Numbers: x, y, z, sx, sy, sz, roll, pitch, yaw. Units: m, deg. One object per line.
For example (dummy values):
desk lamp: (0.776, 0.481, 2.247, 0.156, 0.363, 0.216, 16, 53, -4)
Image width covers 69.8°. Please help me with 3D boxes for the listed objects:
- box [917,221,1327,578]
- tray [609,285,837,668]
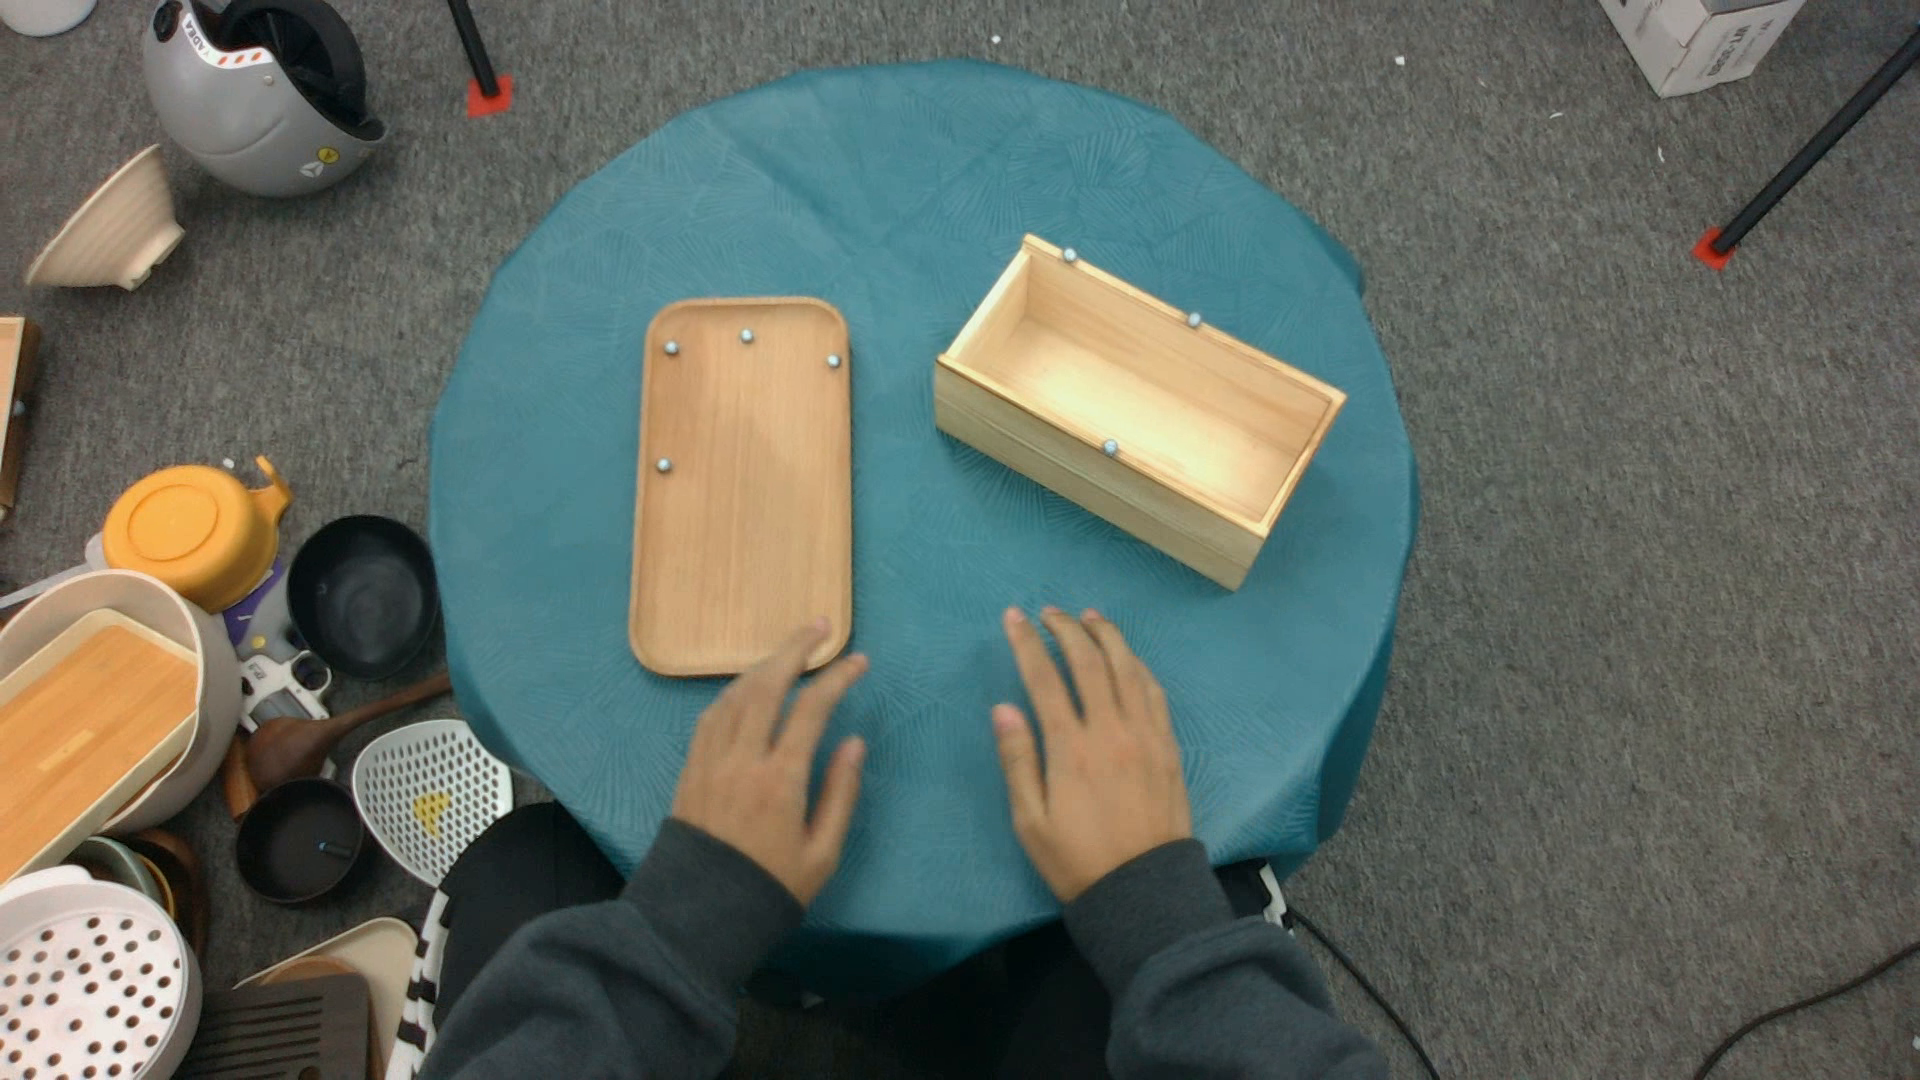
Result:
box: (0.091, -0.083, 0.815, 0.211, 0.080, 0.108, 29, 69, 11)
tray: (-0.139, -0.043, 0.824, 0.130, 0.023, 0.251, -3, 67, 0)
